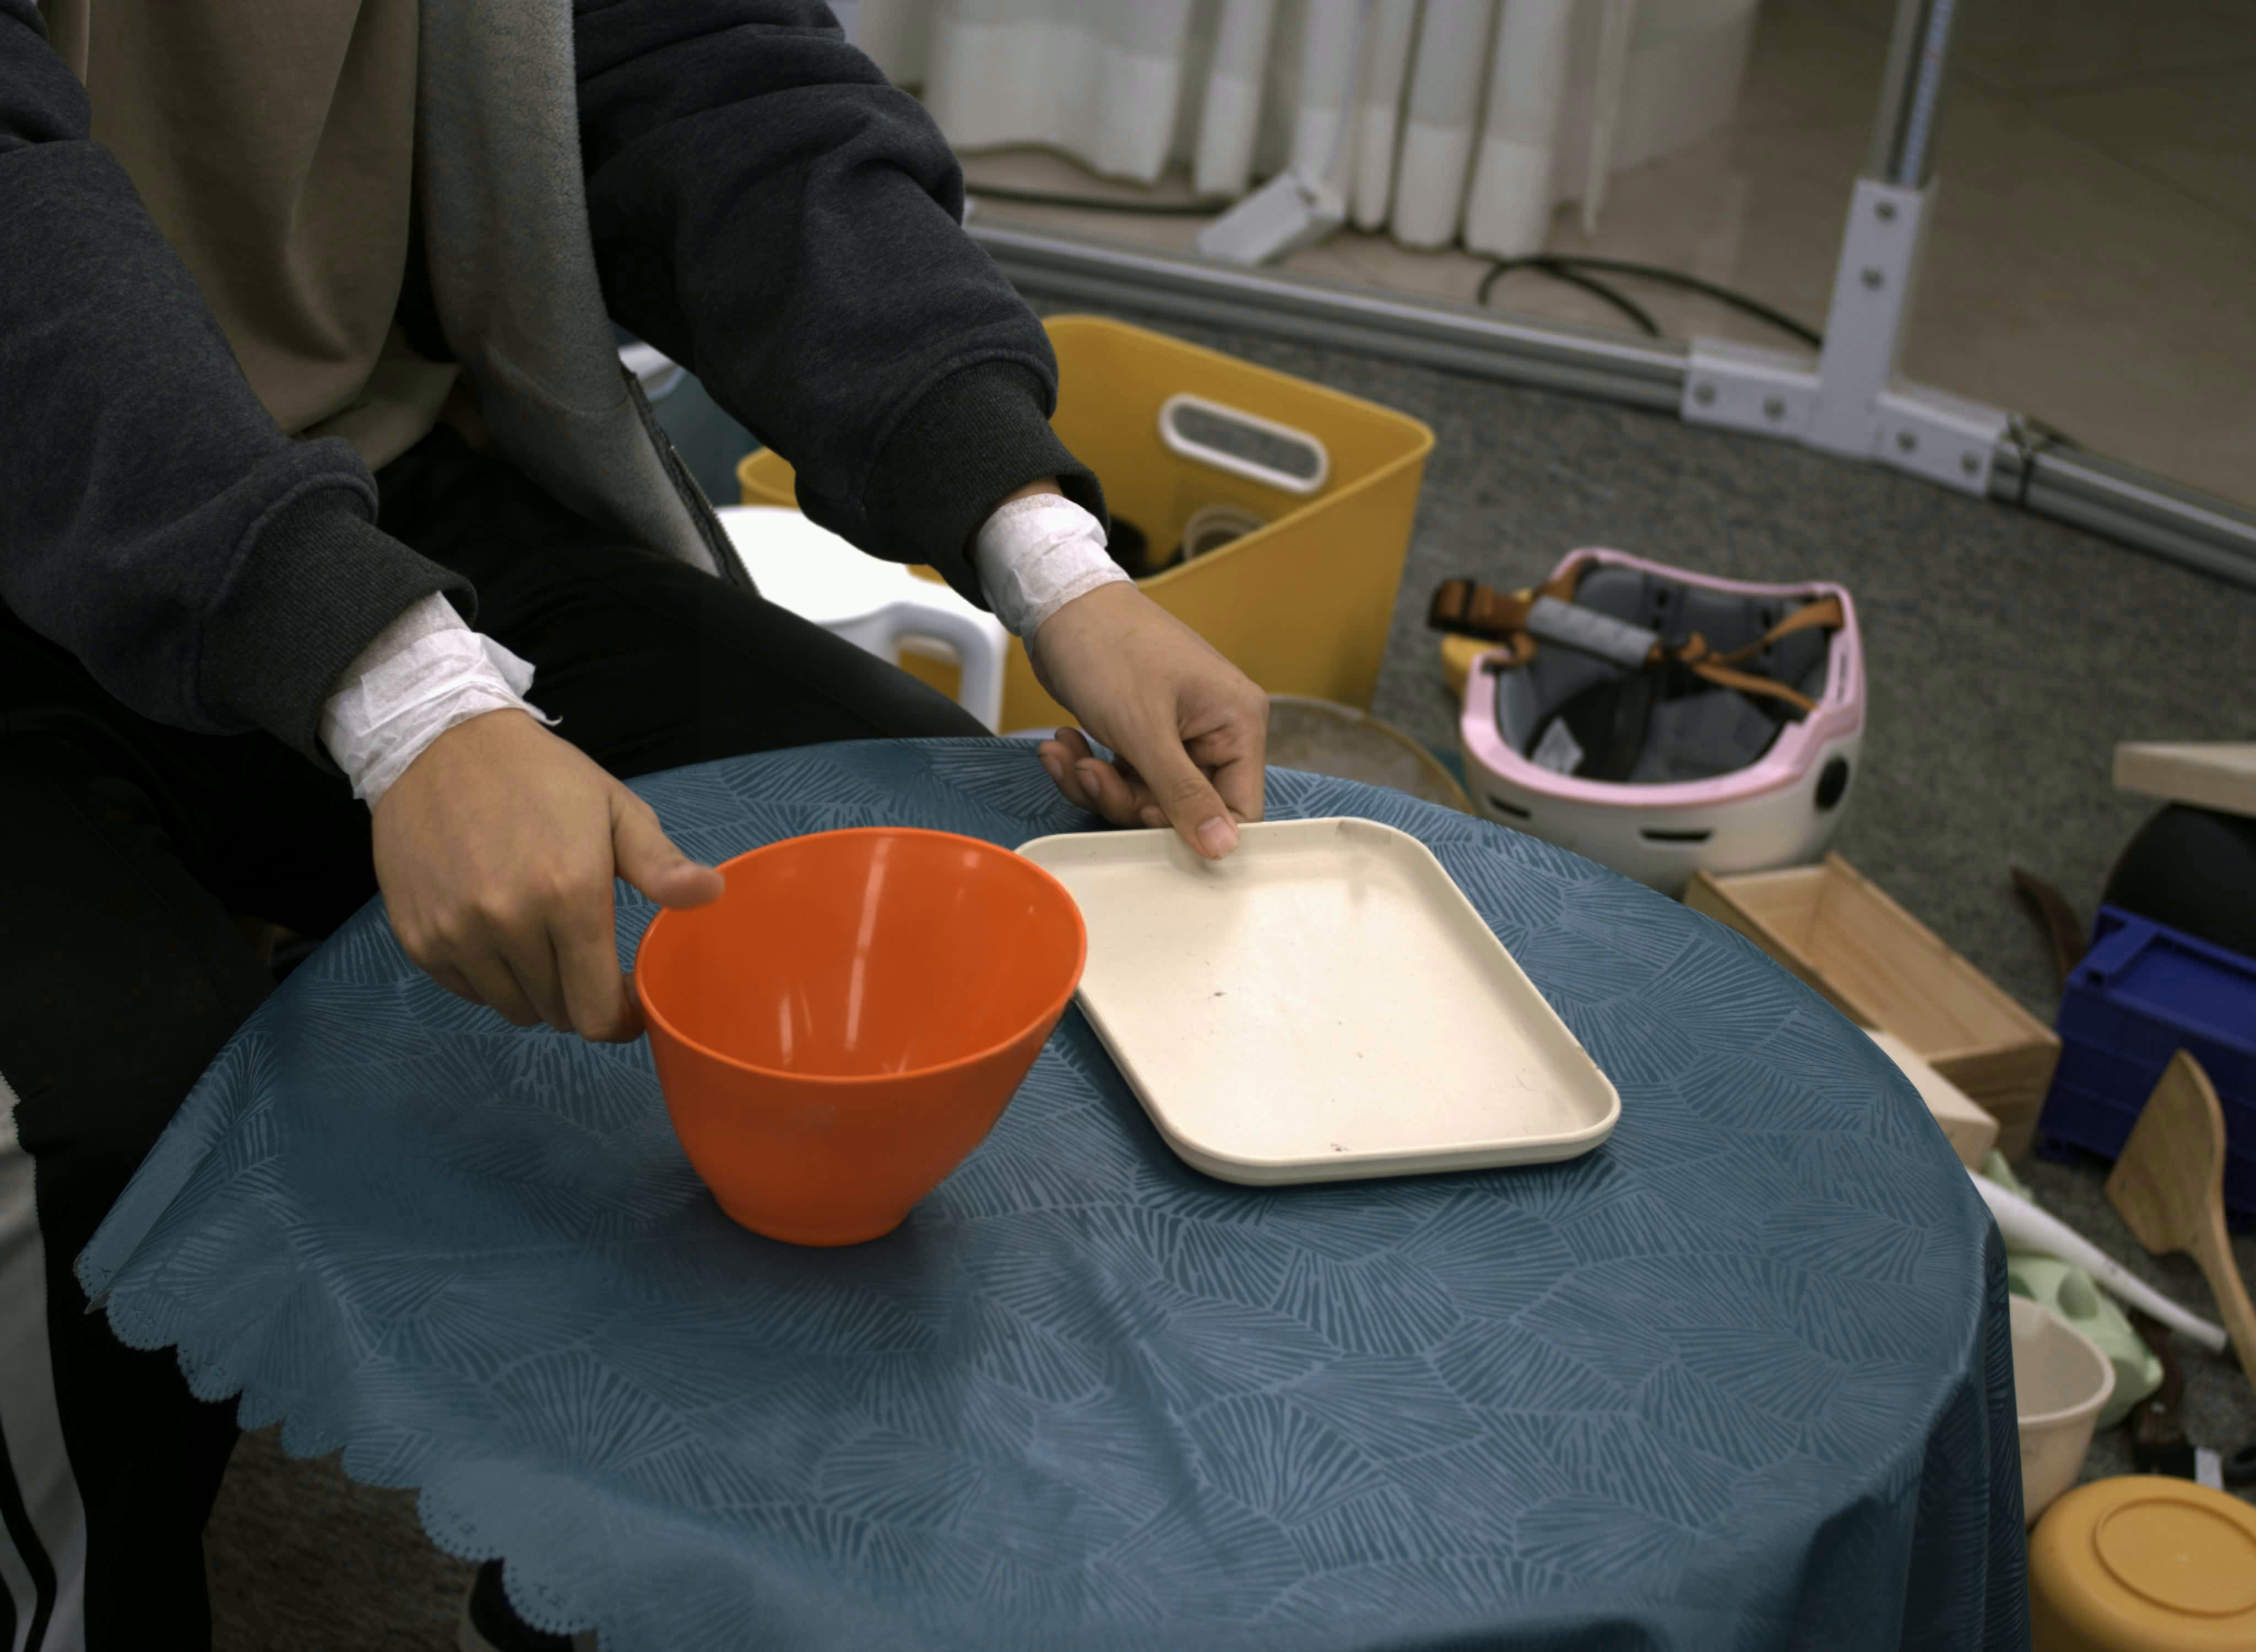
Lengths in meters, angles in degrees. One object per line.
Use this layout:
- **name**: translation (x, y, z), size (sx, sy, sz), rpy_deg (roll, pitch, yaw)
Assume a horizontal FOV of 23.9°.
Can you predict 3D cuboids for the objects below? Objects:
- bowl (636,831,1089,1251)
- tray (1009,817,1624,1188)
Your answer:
- **bowl**: translation (-0.091, 0.078, 1.760), size (0.147, 0.104, 0.149), rpy_deg (6, 27, -4)
- **tray**: translation (0.063, 0.062, 1.917), size (0.170, 0.017, 0.242), rpy_deg (-4, 29, -19)
